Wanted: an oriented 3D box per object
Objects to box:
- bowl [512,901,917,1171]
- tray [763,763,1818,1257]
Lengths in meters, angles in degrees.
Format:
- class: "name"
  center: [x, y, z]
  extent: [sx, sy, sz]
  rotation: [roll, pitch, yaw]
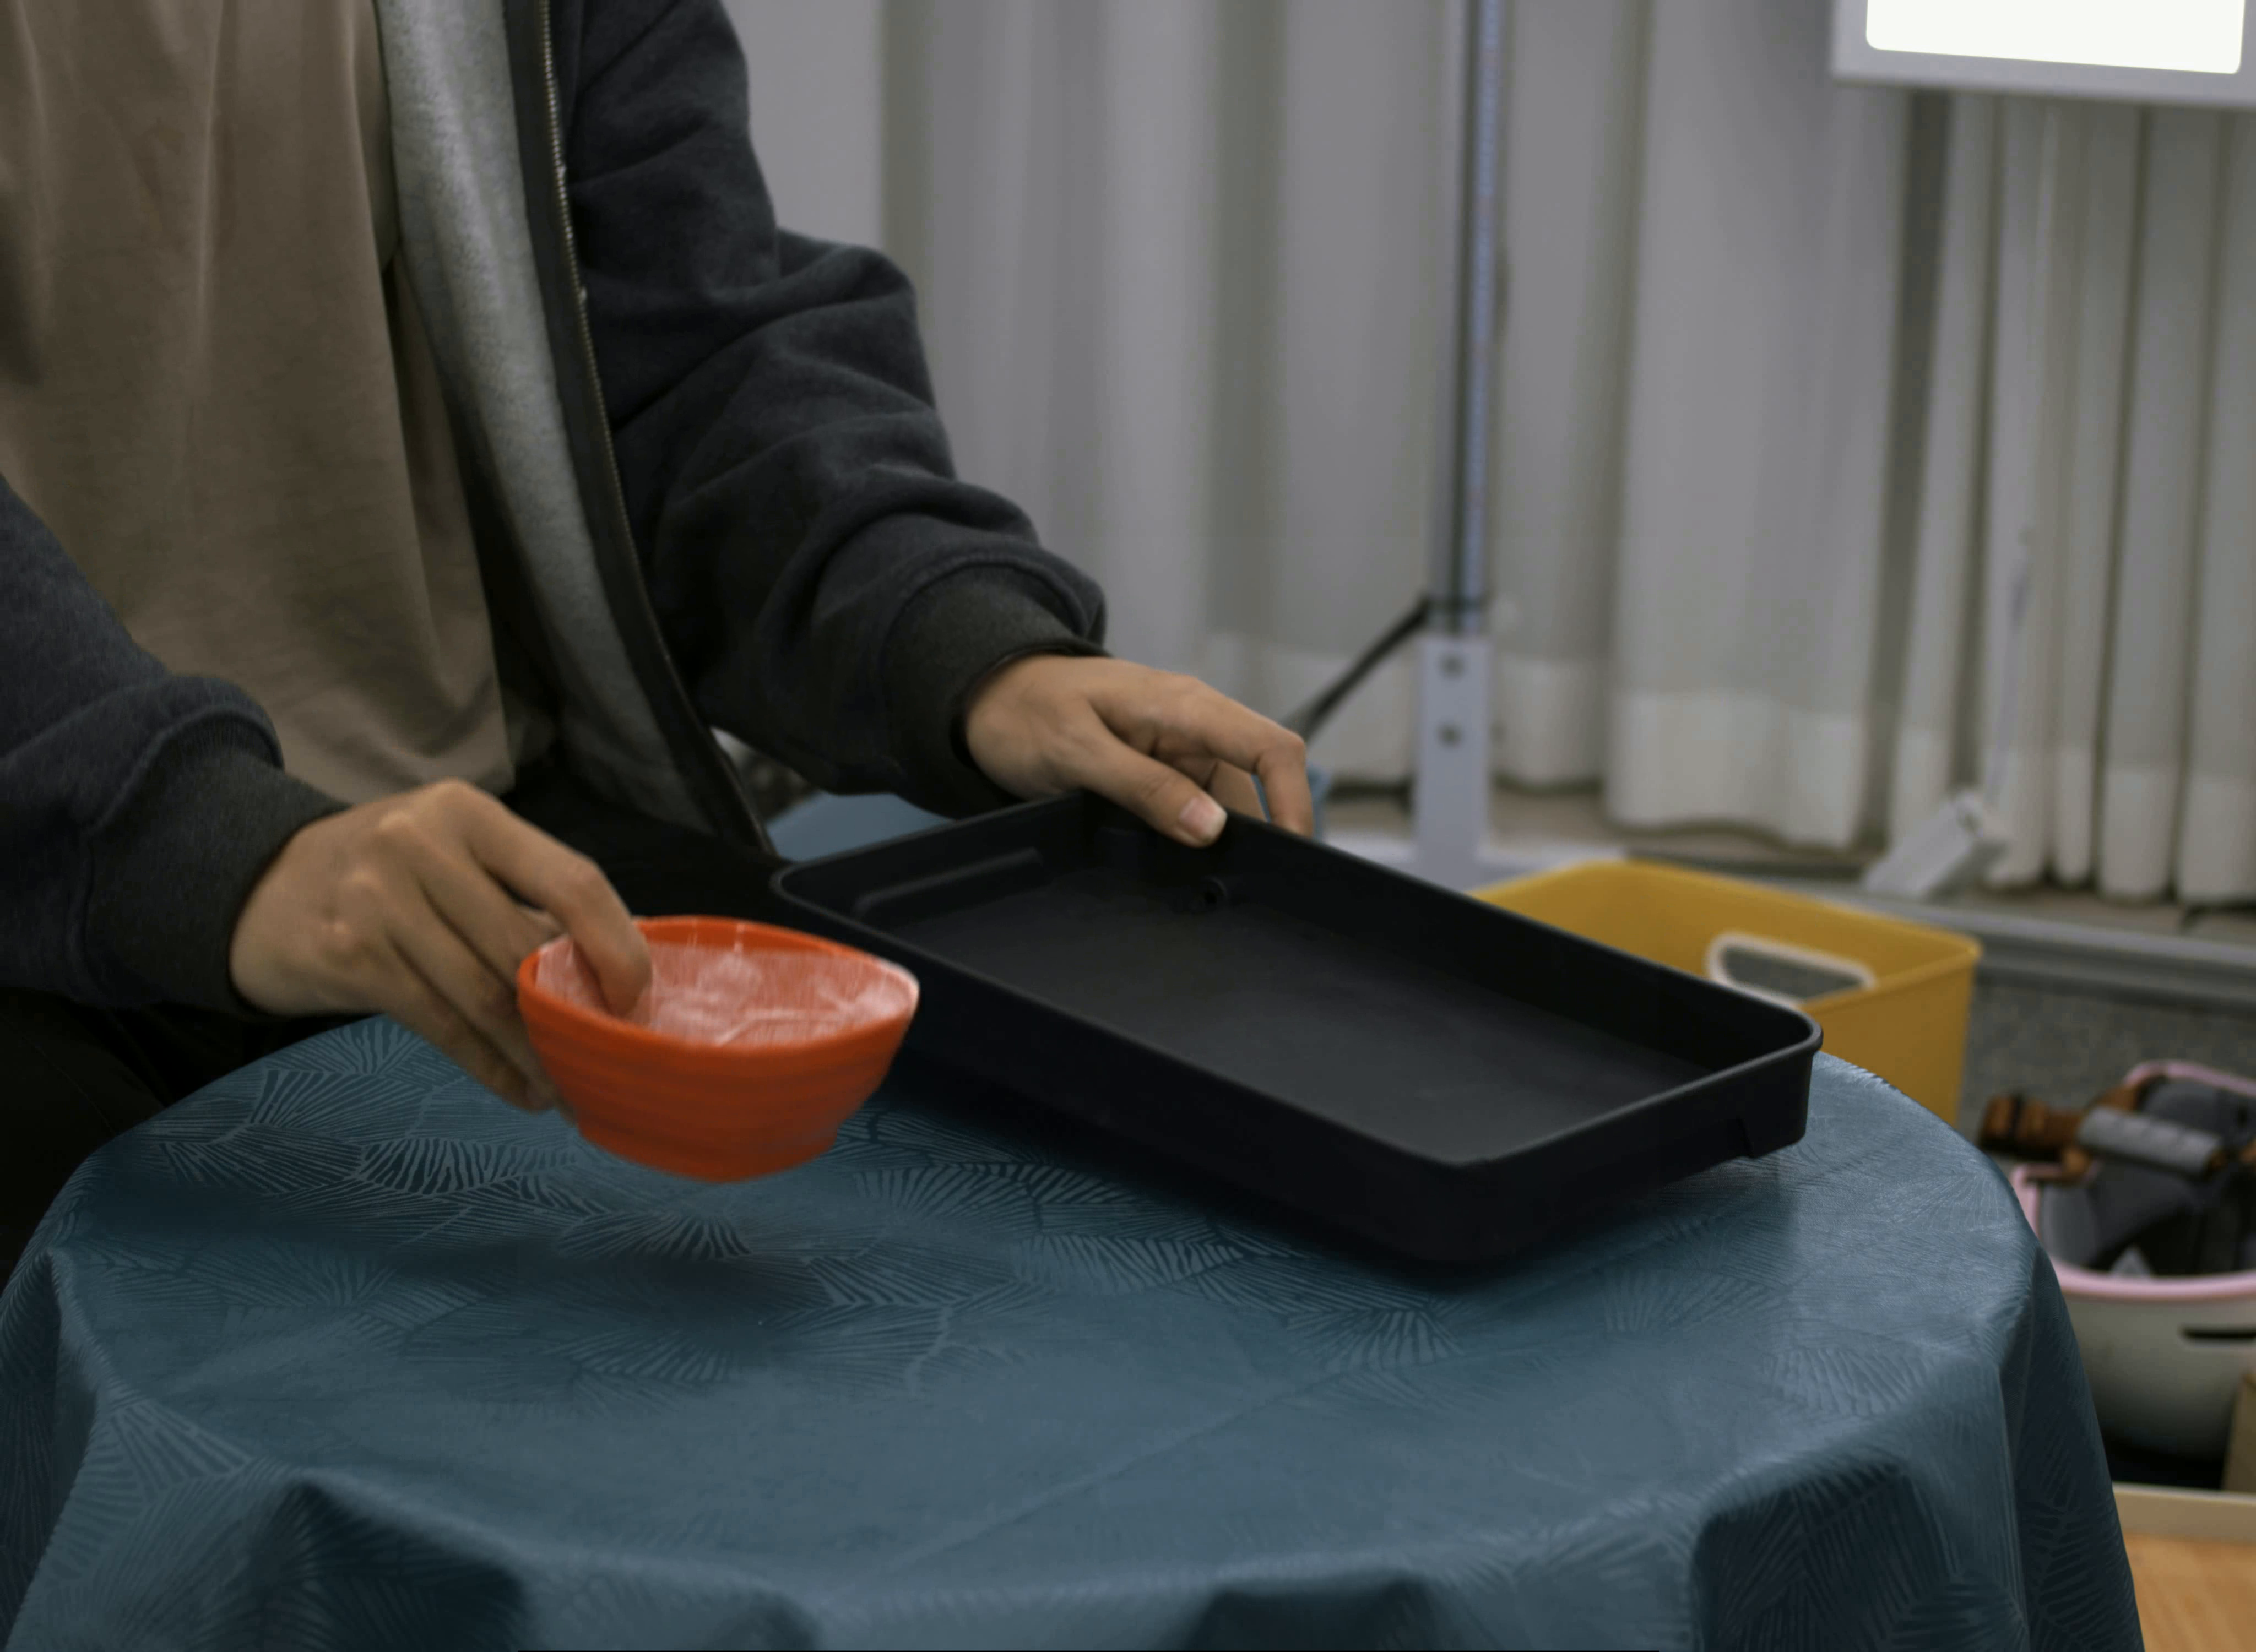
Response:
- class: "bowl"
  center: [-0.123, 0.063, 1.541]
  extent: [0.118, 0.052, 0.118]
  rotation: [6, 17, -1]
- class: "tray"
  center: [0.047, 0.053, 1.679]
  extent: [0.313, 0.037, 0.185]
  rotation: [21, 26, 40]
